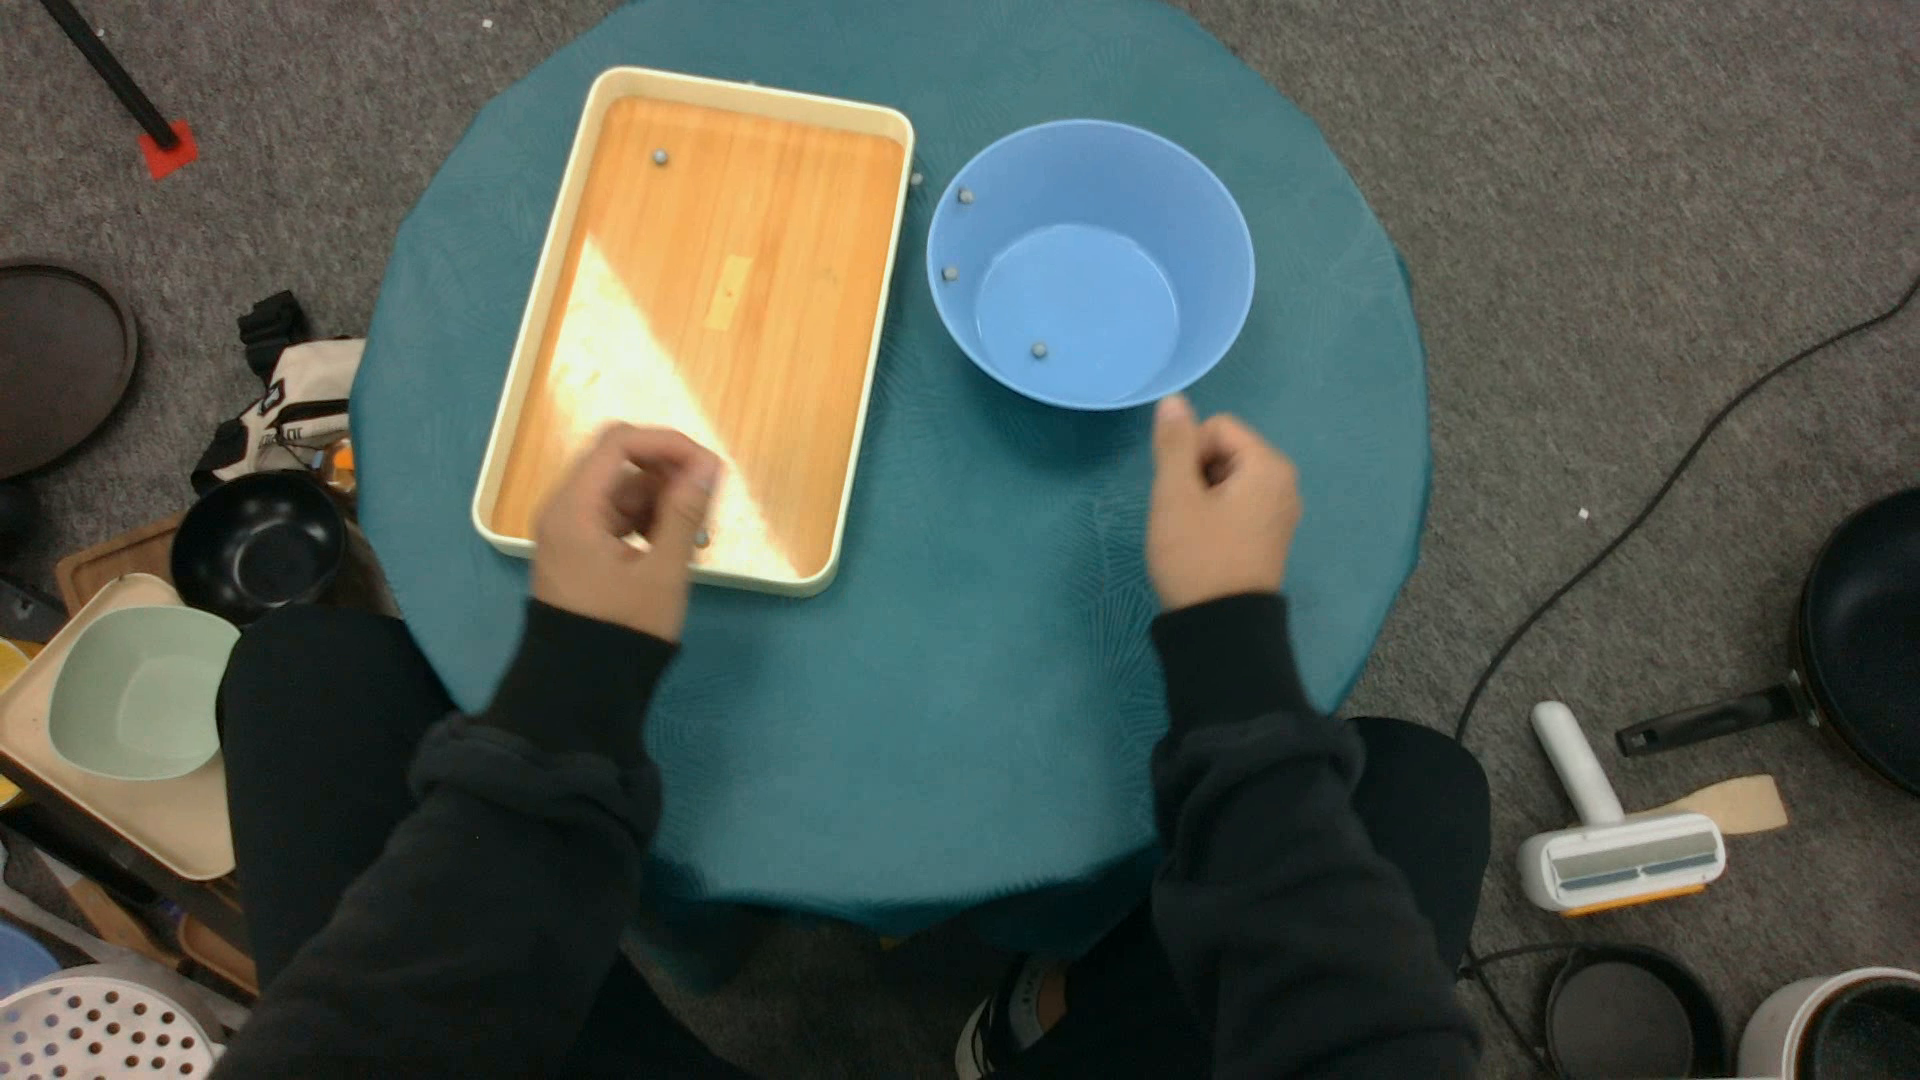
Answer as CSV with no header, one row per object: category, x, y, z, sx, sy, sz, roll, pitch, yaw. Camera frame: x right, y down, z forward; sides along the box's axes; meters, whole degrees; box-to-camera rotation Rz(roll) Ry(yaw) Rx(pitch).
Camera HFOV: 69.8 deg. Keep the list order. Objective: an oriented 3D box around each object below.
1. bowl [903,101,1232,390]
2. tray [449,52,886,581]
bowl,0.056,-0.150,0.761,0.176,0.070,0.176,1,70,-2
tray,-0.153,-0.131,0.764,0.191,0.027,0.301,8,70,0
